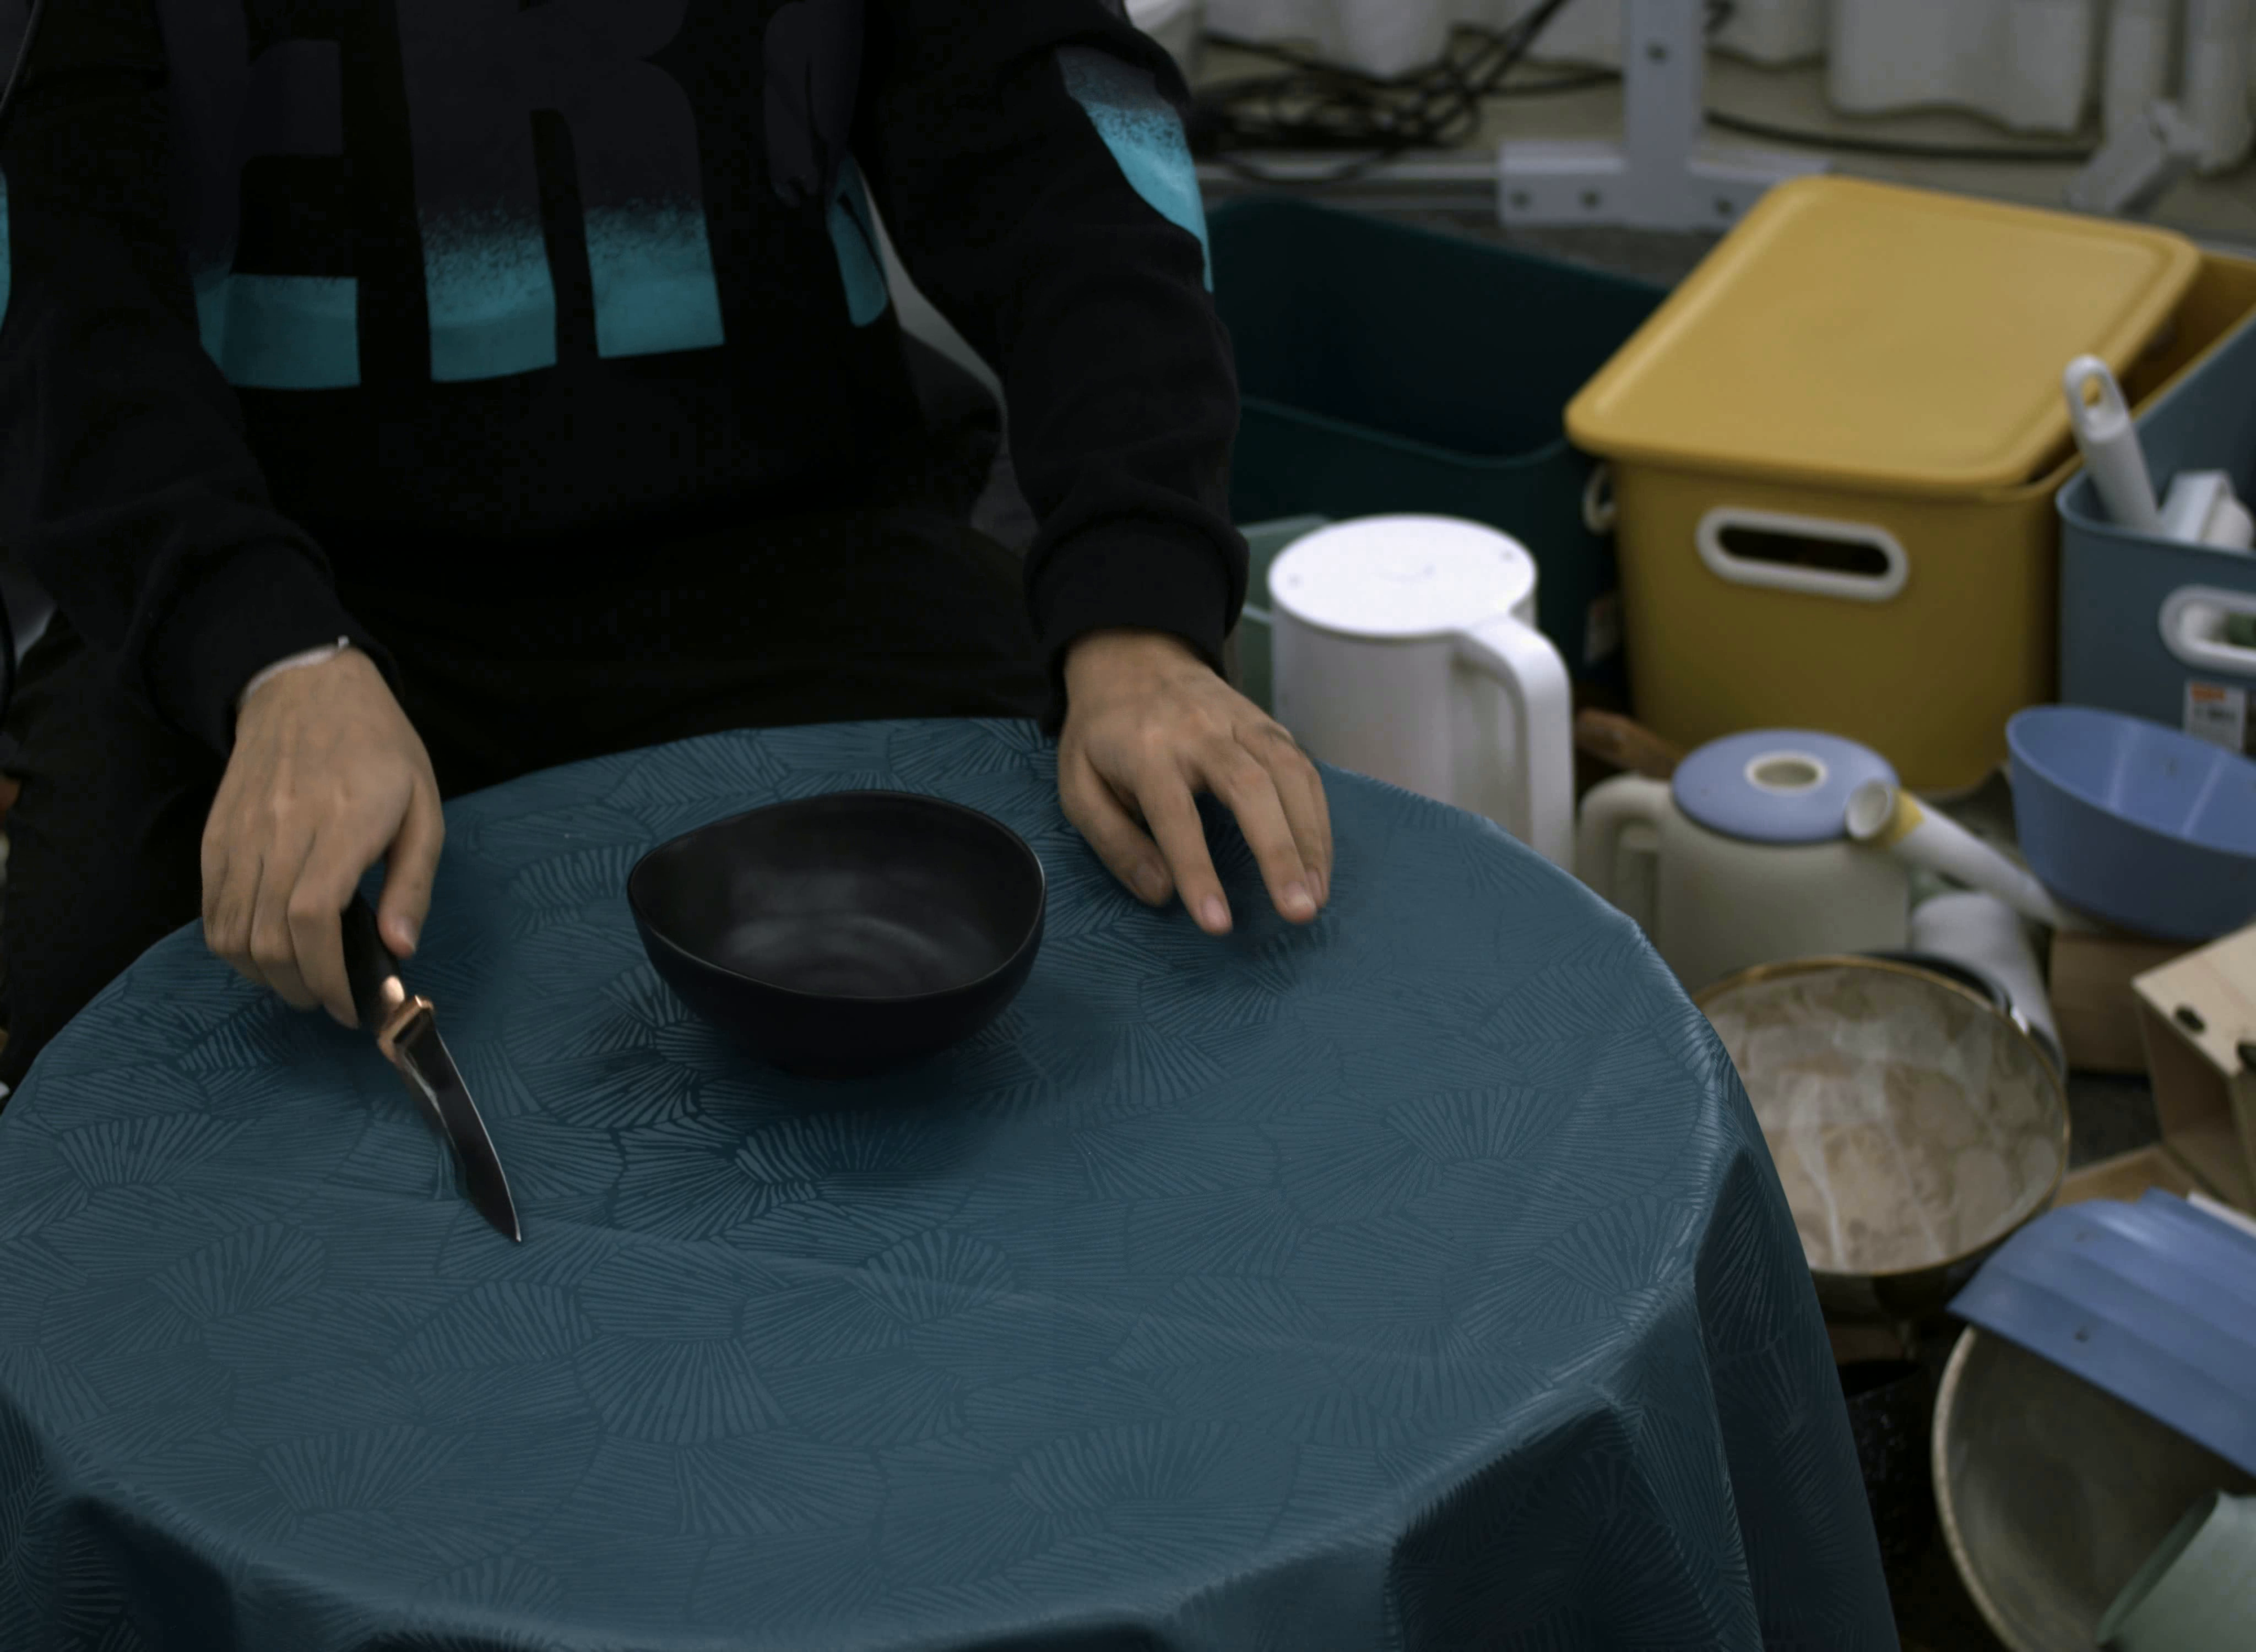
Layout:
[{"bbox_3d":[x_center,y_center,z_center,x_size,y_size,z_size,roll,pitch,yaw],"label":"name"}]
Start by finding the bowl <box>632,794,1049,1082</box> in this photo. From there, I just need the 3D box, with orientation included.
[{"bbox_3d":[-0.099,0.046,1.948,0.138,0.066,0.170,-20,30,-30],"label":"bowl"}]

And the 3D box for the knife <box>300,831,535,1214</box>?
[{"bbox_3d":[-0.244,0.069,1.925,0.017,0.026,0.228,18,23,-37],"label":"knife"}]
